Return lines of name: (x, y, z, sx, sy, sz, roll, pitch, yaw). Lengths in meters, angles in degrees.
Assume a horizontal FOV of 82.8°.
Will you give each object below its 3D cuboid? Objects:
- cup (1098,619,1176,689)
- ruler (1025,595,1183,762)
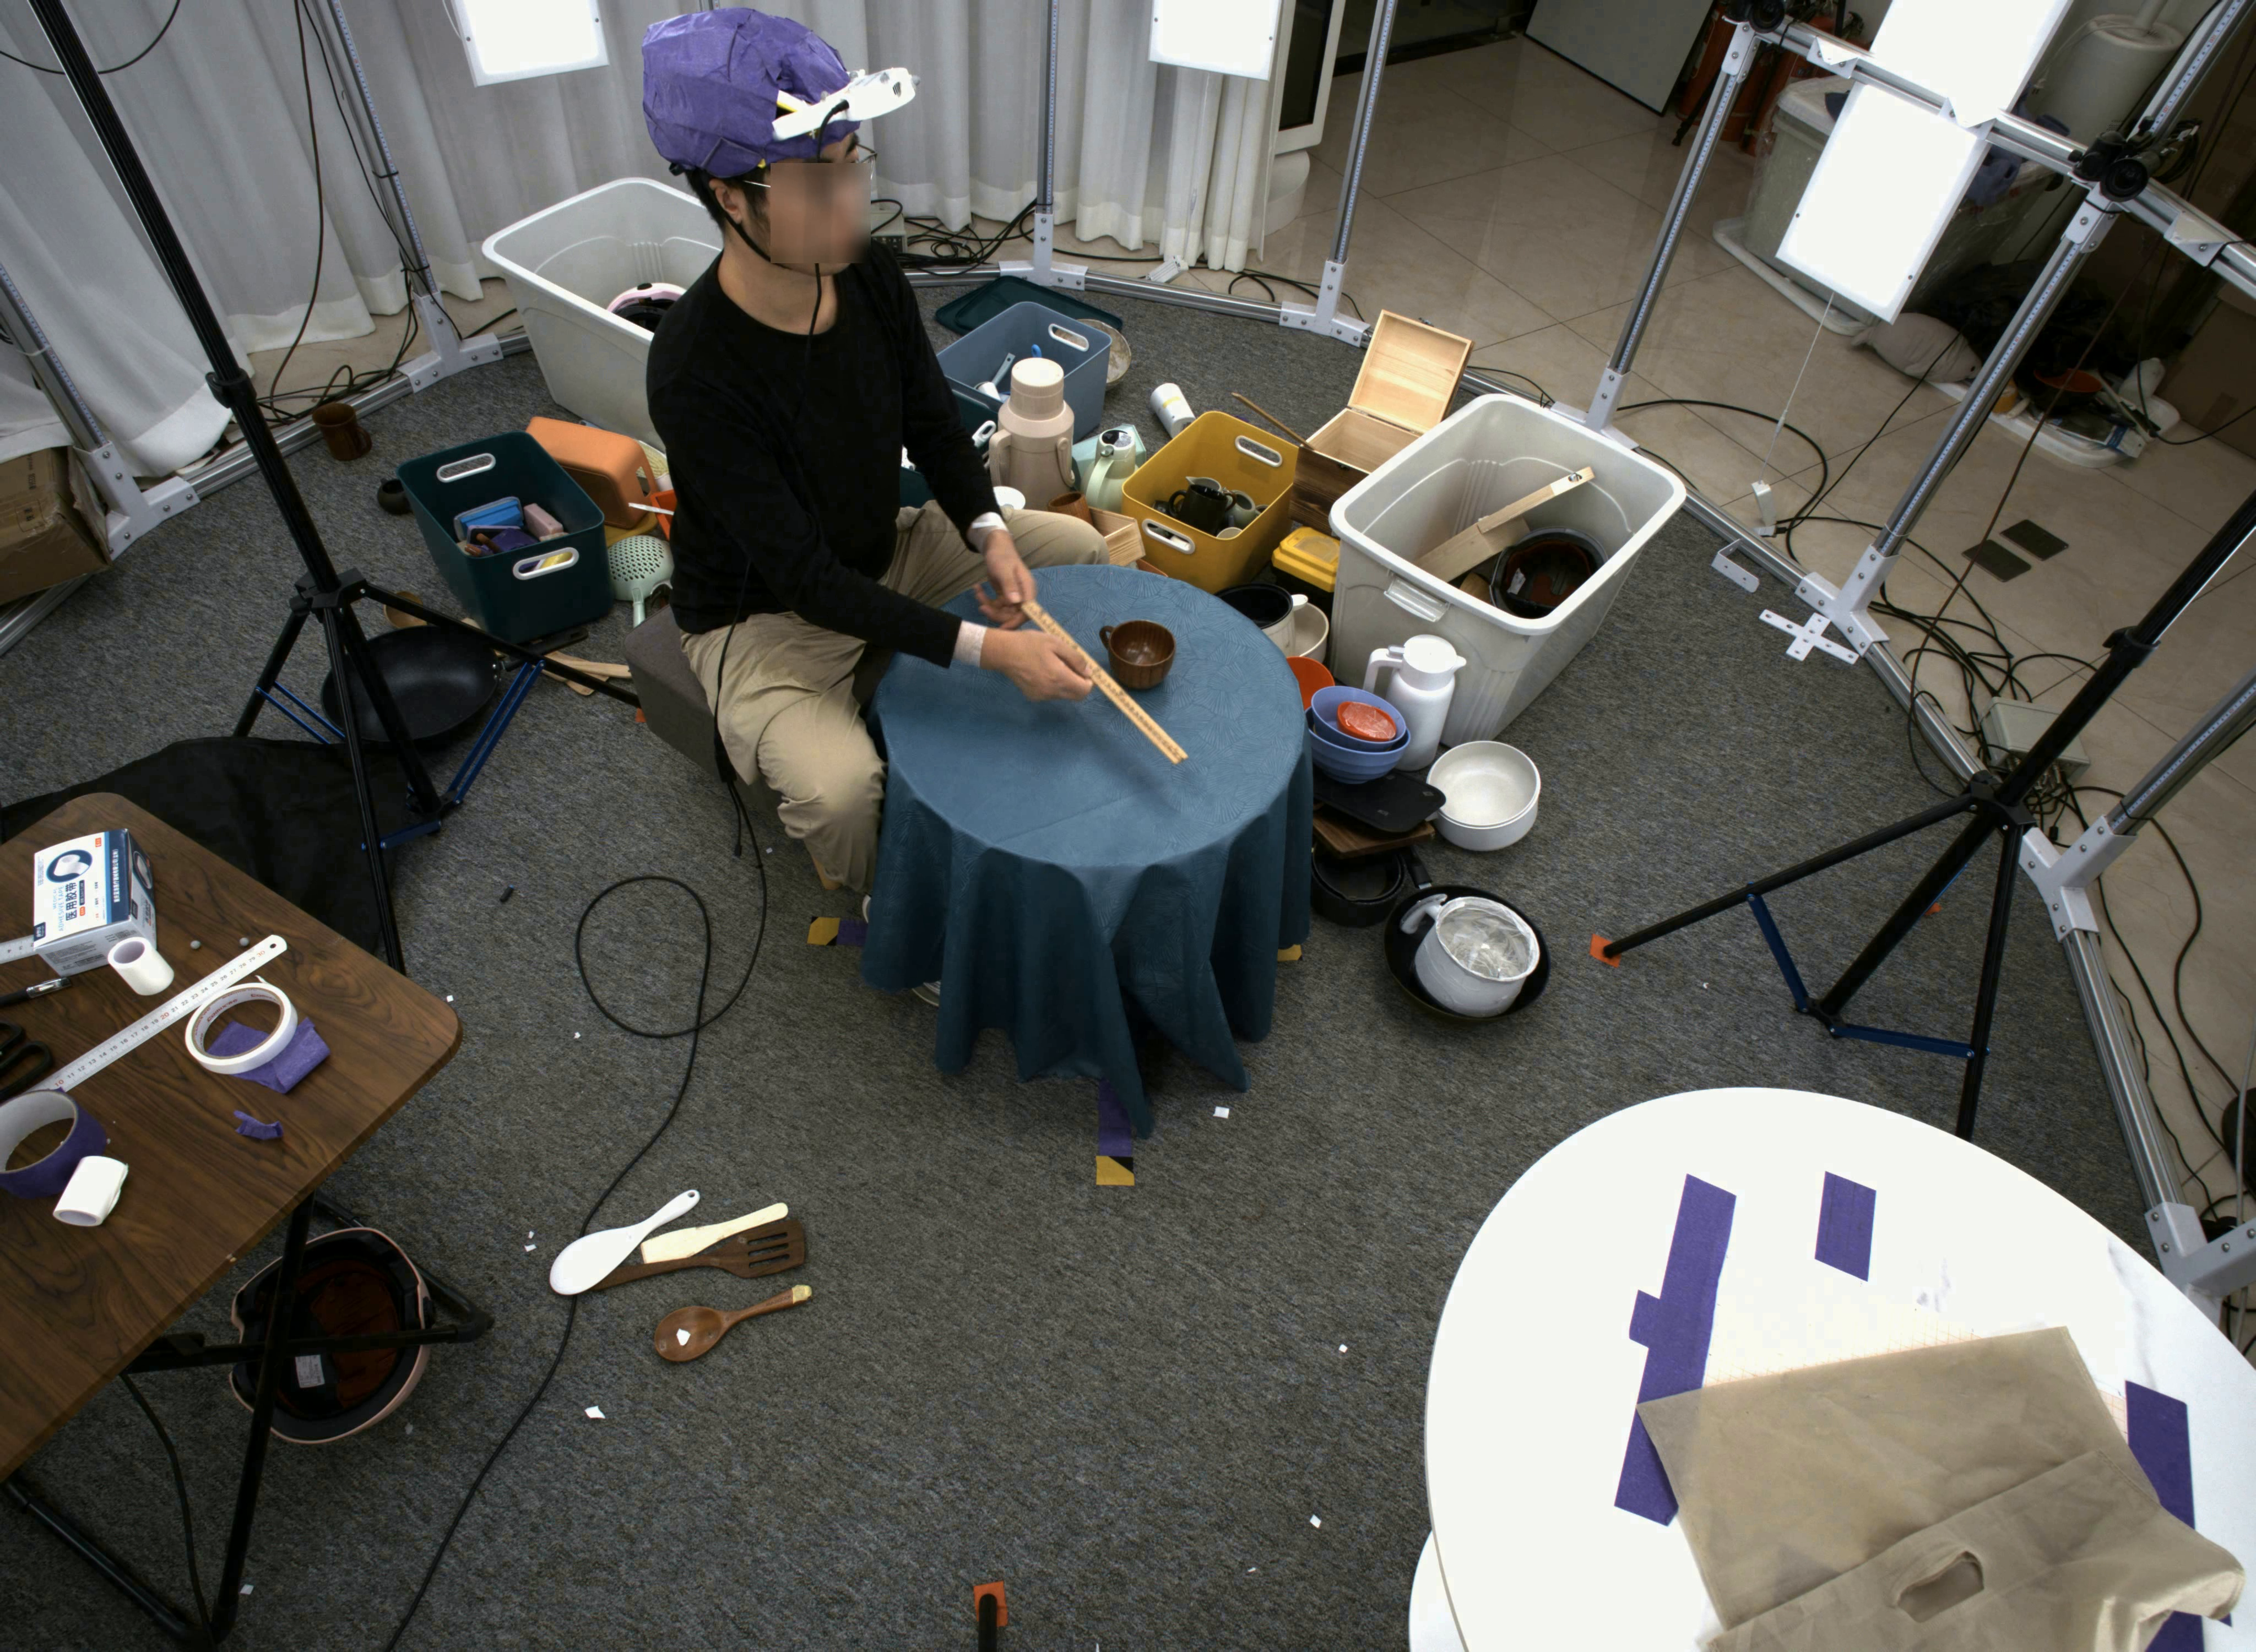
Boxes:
cup: (0.009, -0.246, 1.842, 0.121, 0.066, 0.097, 28, 55, 21)
ruler: (-0.035, -0.207, 1.742, 0.027, 0.022, 0.337, -23, 60, -34)
